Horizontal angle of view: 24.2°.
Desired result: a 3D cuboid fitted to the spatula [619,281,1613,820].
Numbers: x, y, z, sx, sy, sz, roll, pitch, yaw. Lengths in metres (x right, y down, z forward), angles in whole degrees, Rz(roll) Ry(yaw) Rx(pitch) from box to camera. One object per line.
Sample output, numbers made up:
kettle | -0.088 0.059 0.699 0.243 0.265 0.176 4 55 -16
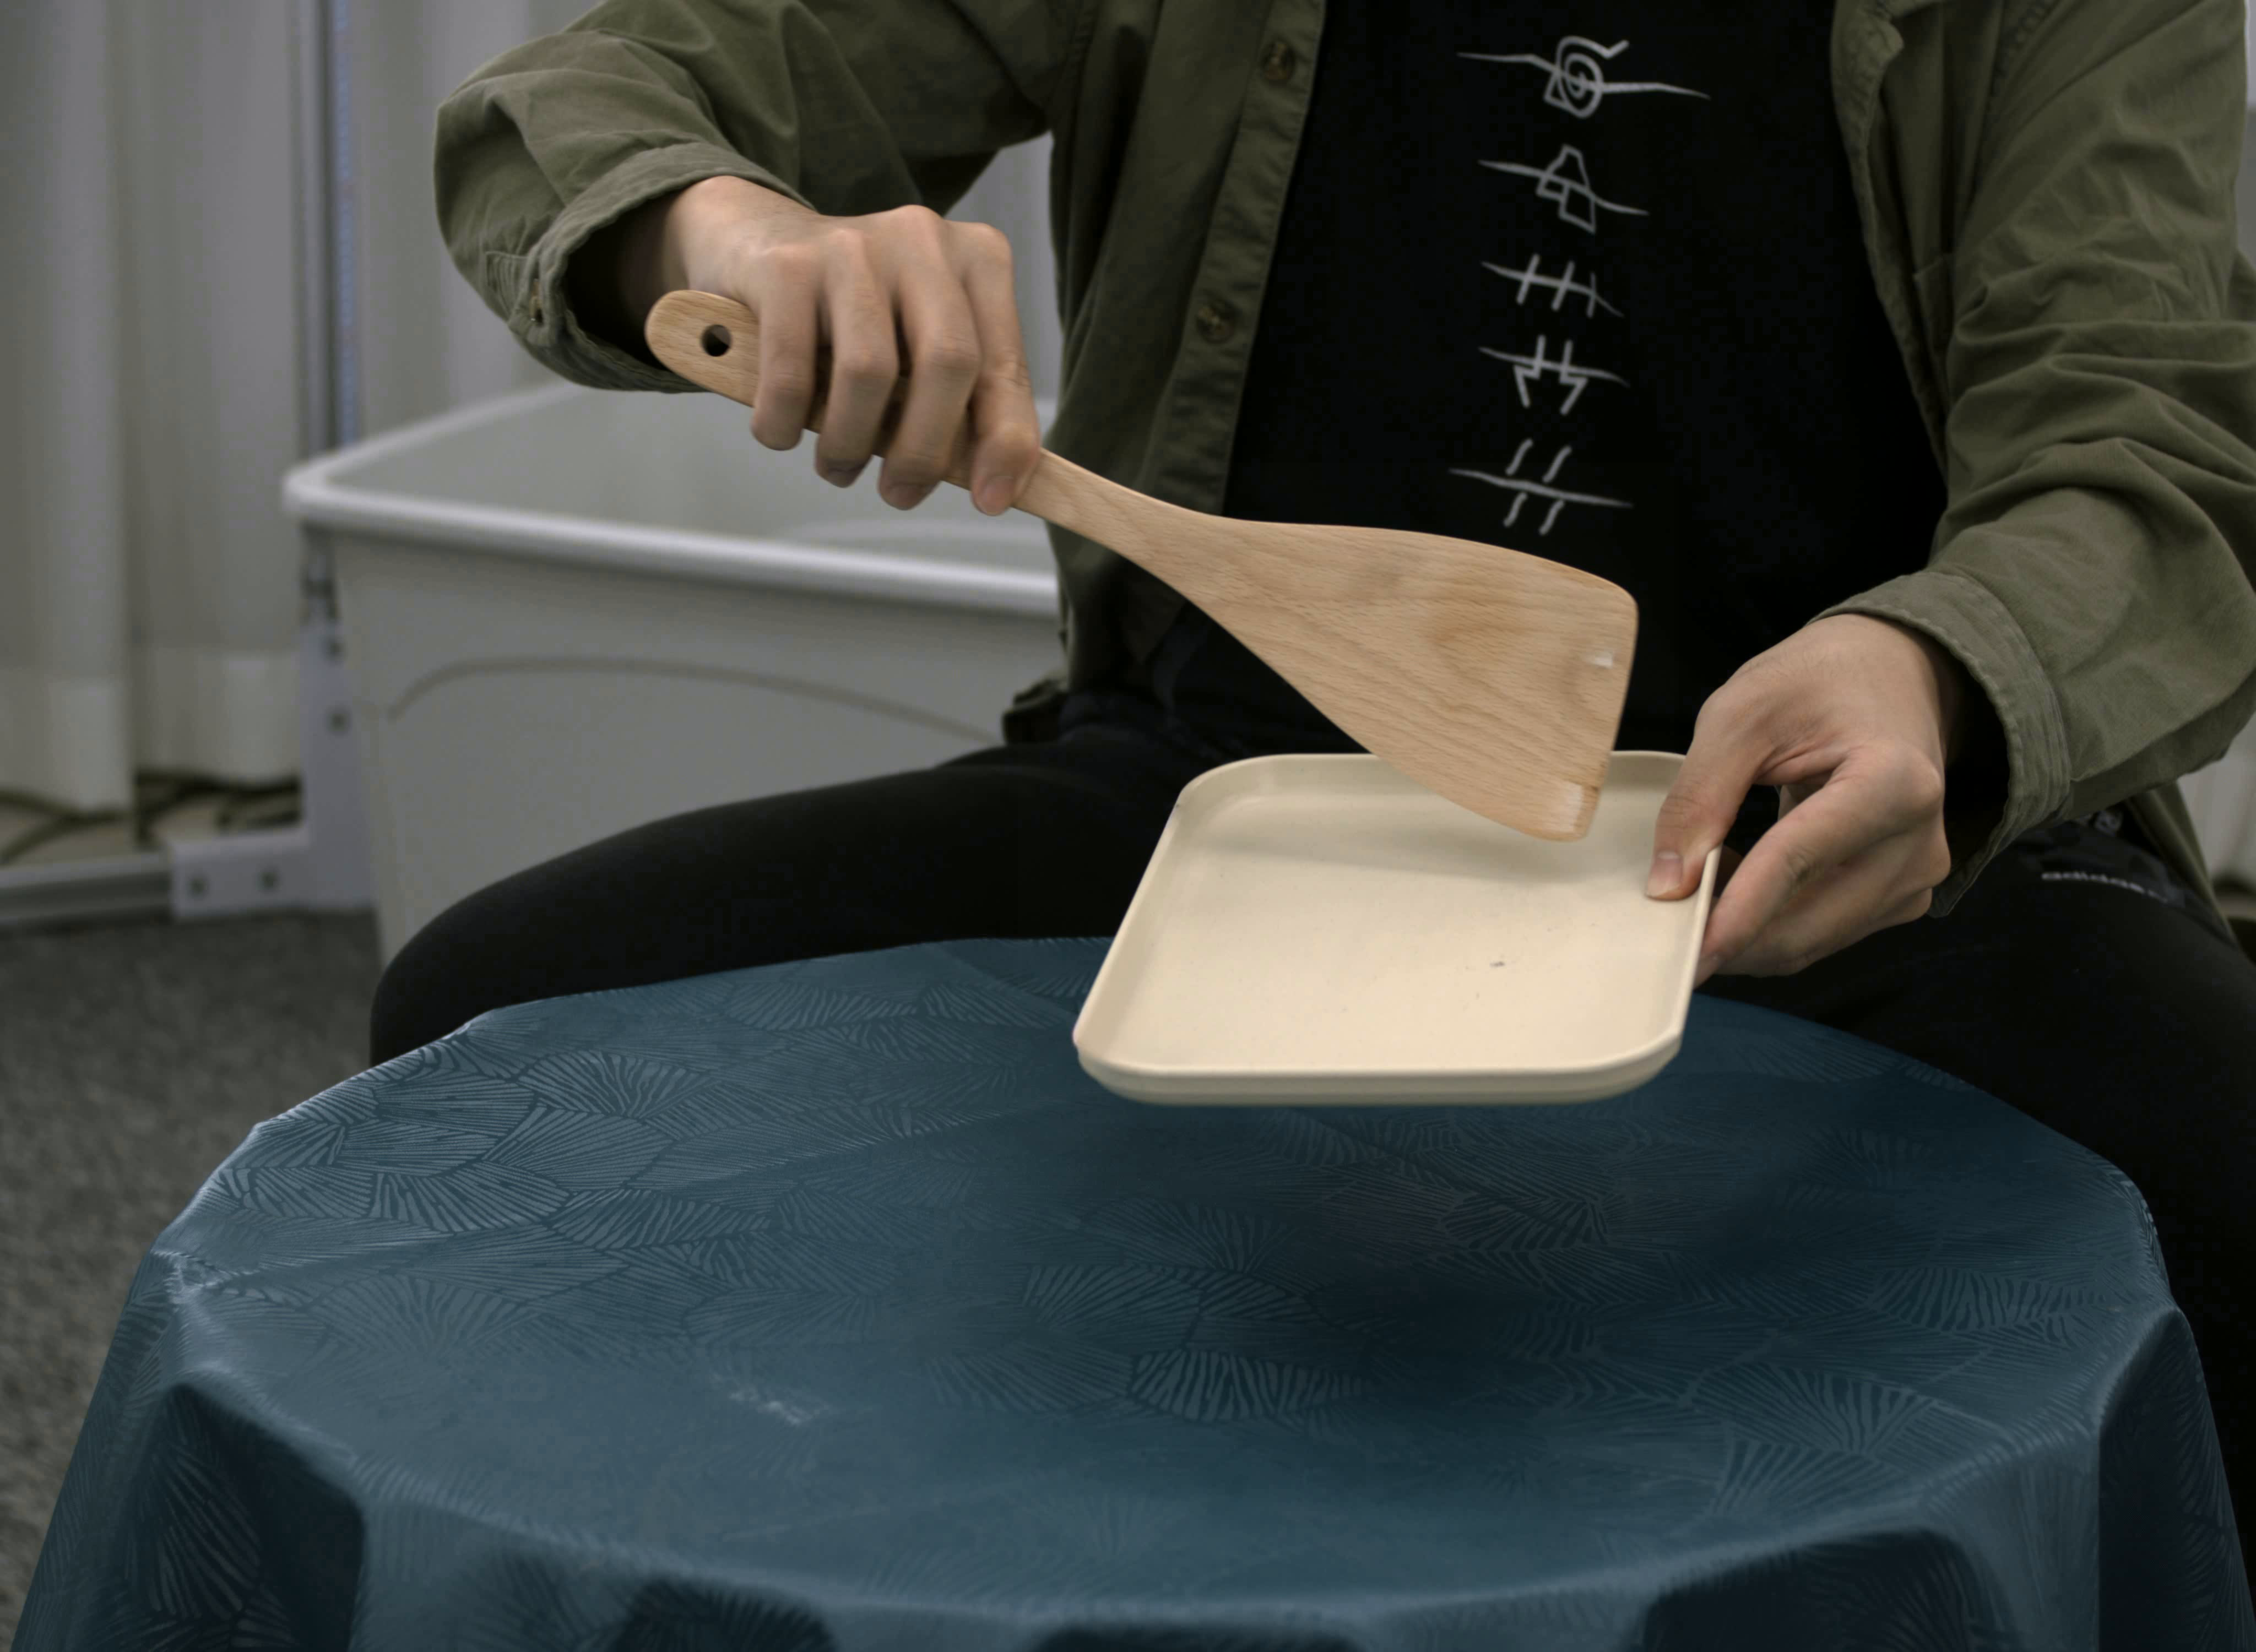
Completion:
spatula | -0.006 -0.097 1.583 0.326 0.080 0.016 23 2 7

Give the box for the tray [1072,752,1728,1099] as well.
tray | 0.083 0.027 1.527 0.170 0.017 0.239 1 21 11
